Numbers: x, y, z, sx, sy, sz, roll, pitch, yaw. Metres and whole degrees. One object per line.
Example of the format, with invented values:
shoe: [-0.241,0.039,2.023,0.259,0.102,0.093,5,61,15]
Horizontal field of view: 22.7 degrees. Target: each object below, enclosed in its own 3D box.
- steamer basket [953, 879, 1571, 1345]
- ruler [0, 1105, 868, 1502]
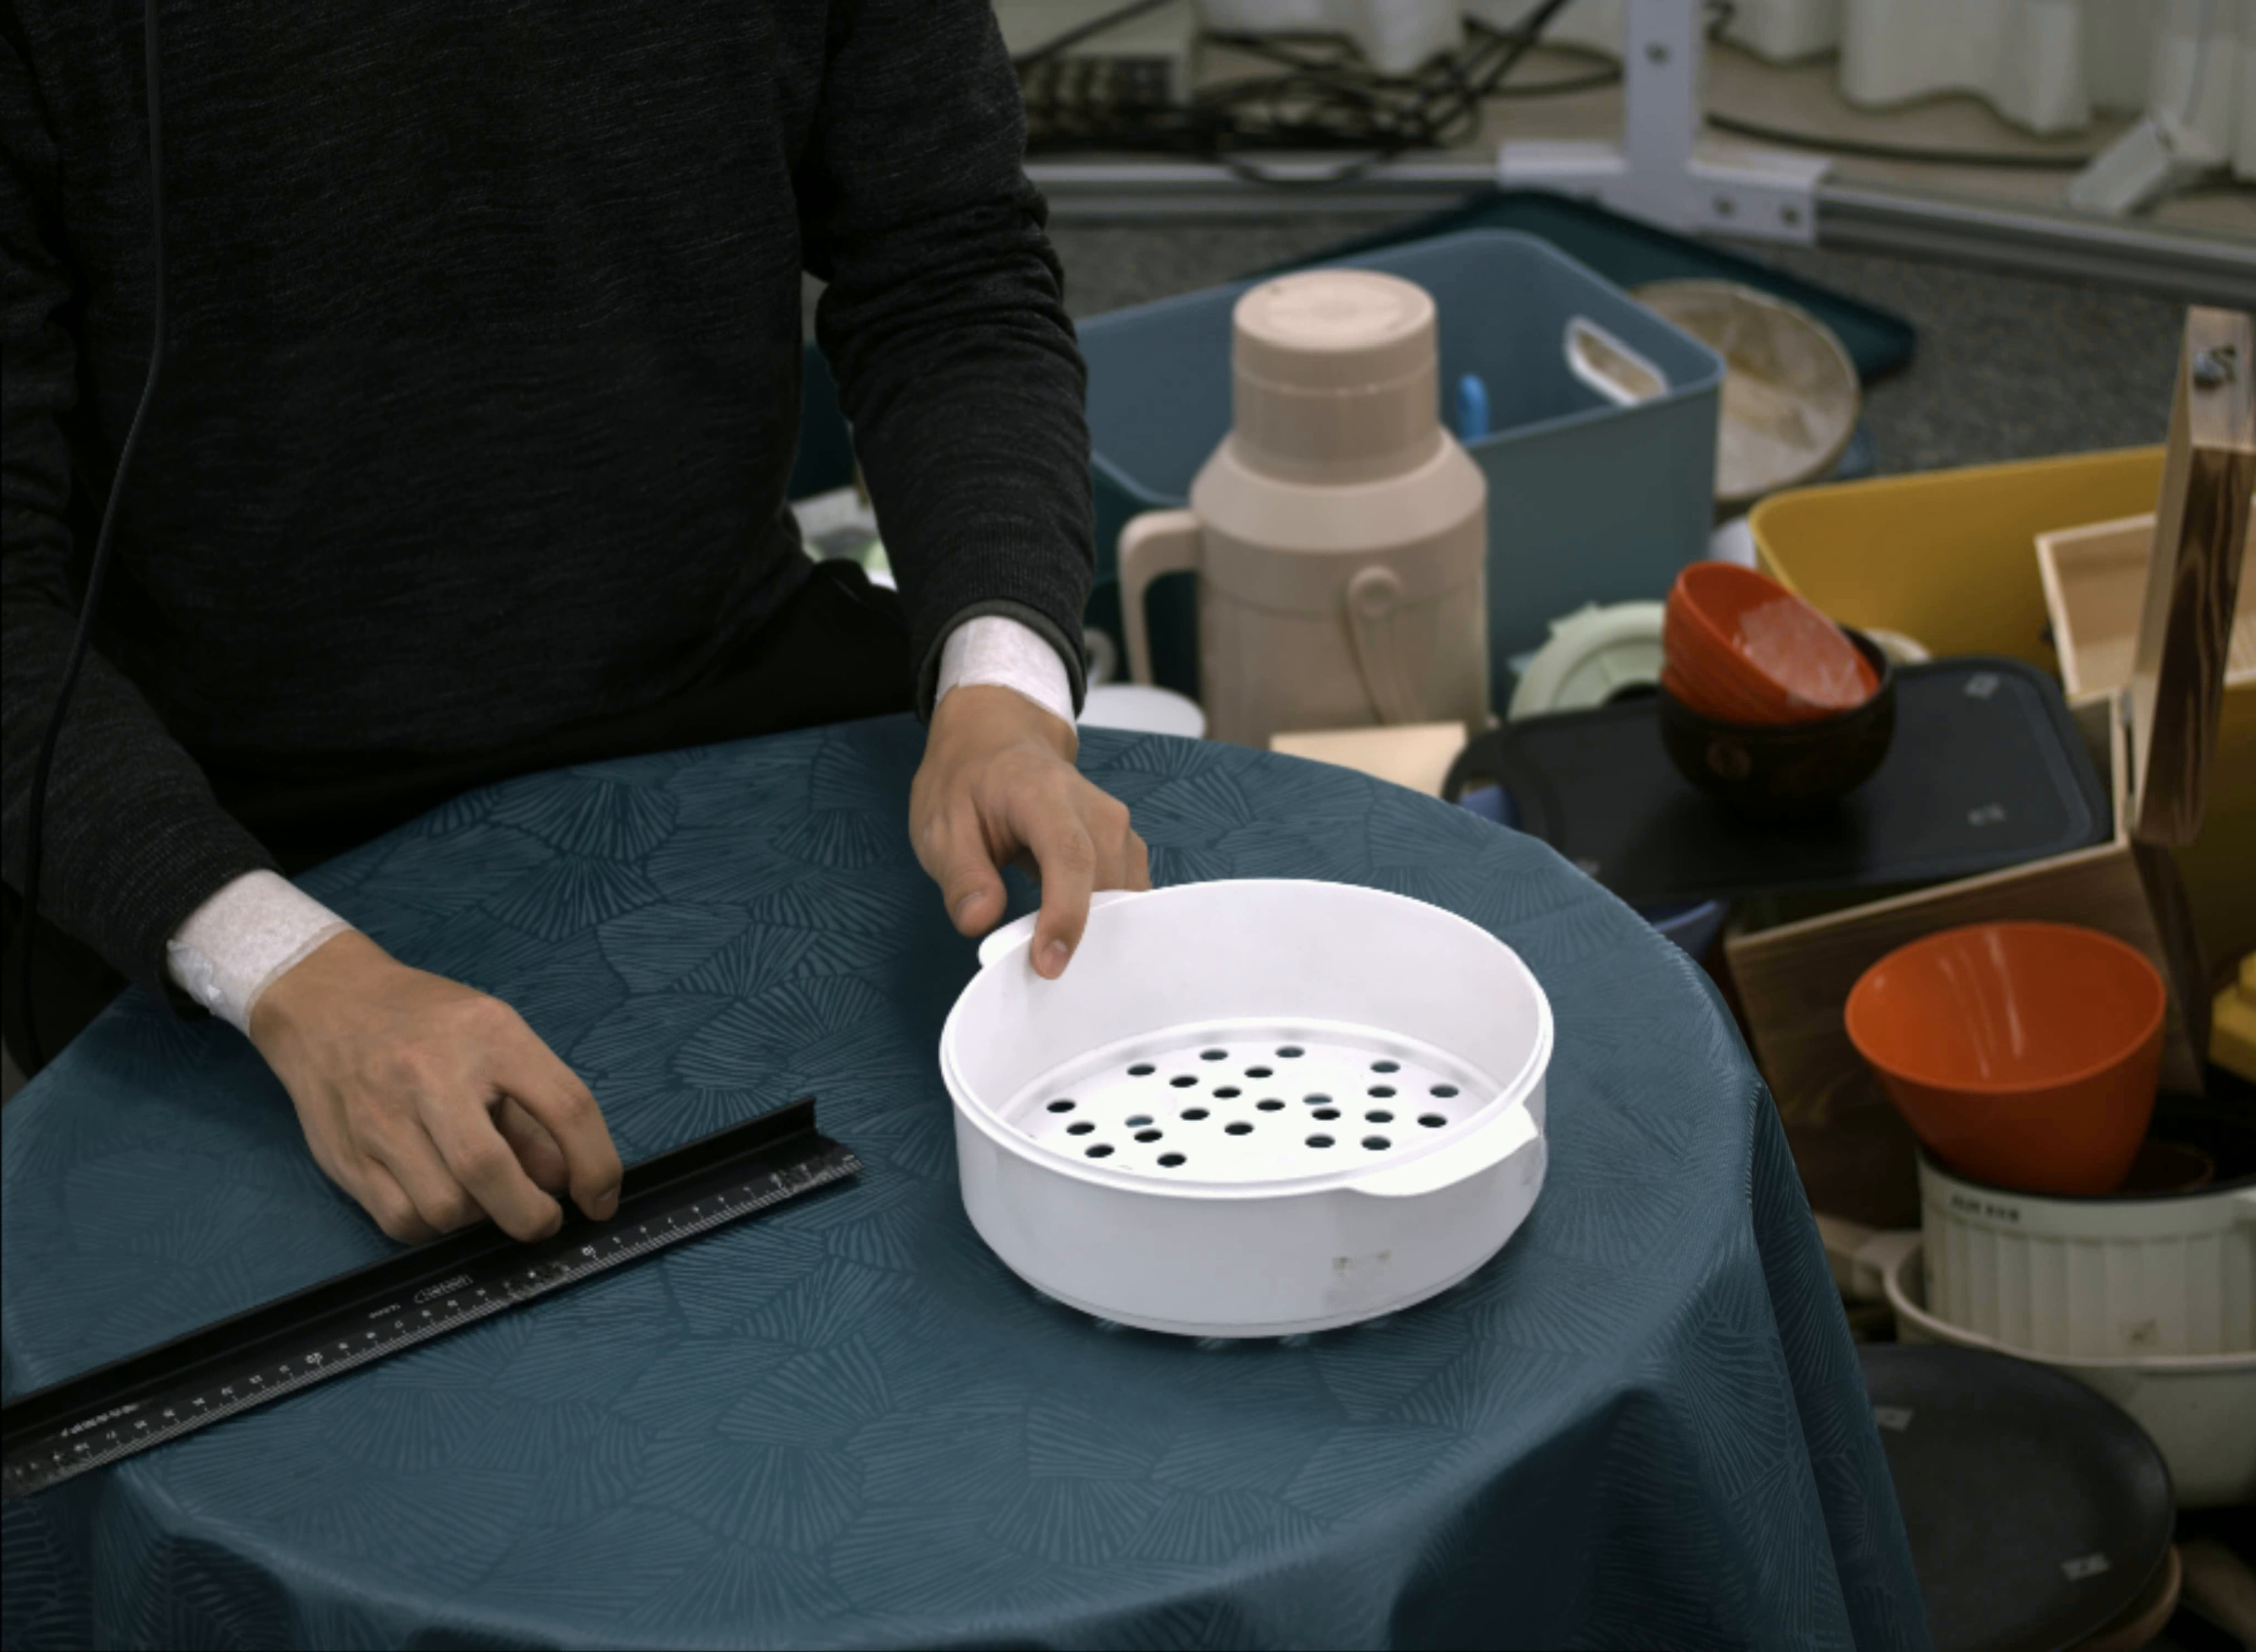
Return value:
steamer basket: [0.044,0.094,1.836,0.204,0.068,0.231,-22,35,-33]
ruler: [-0.226,0.150,1.808,0.315,0.017,0.039,-20,32,-28]
